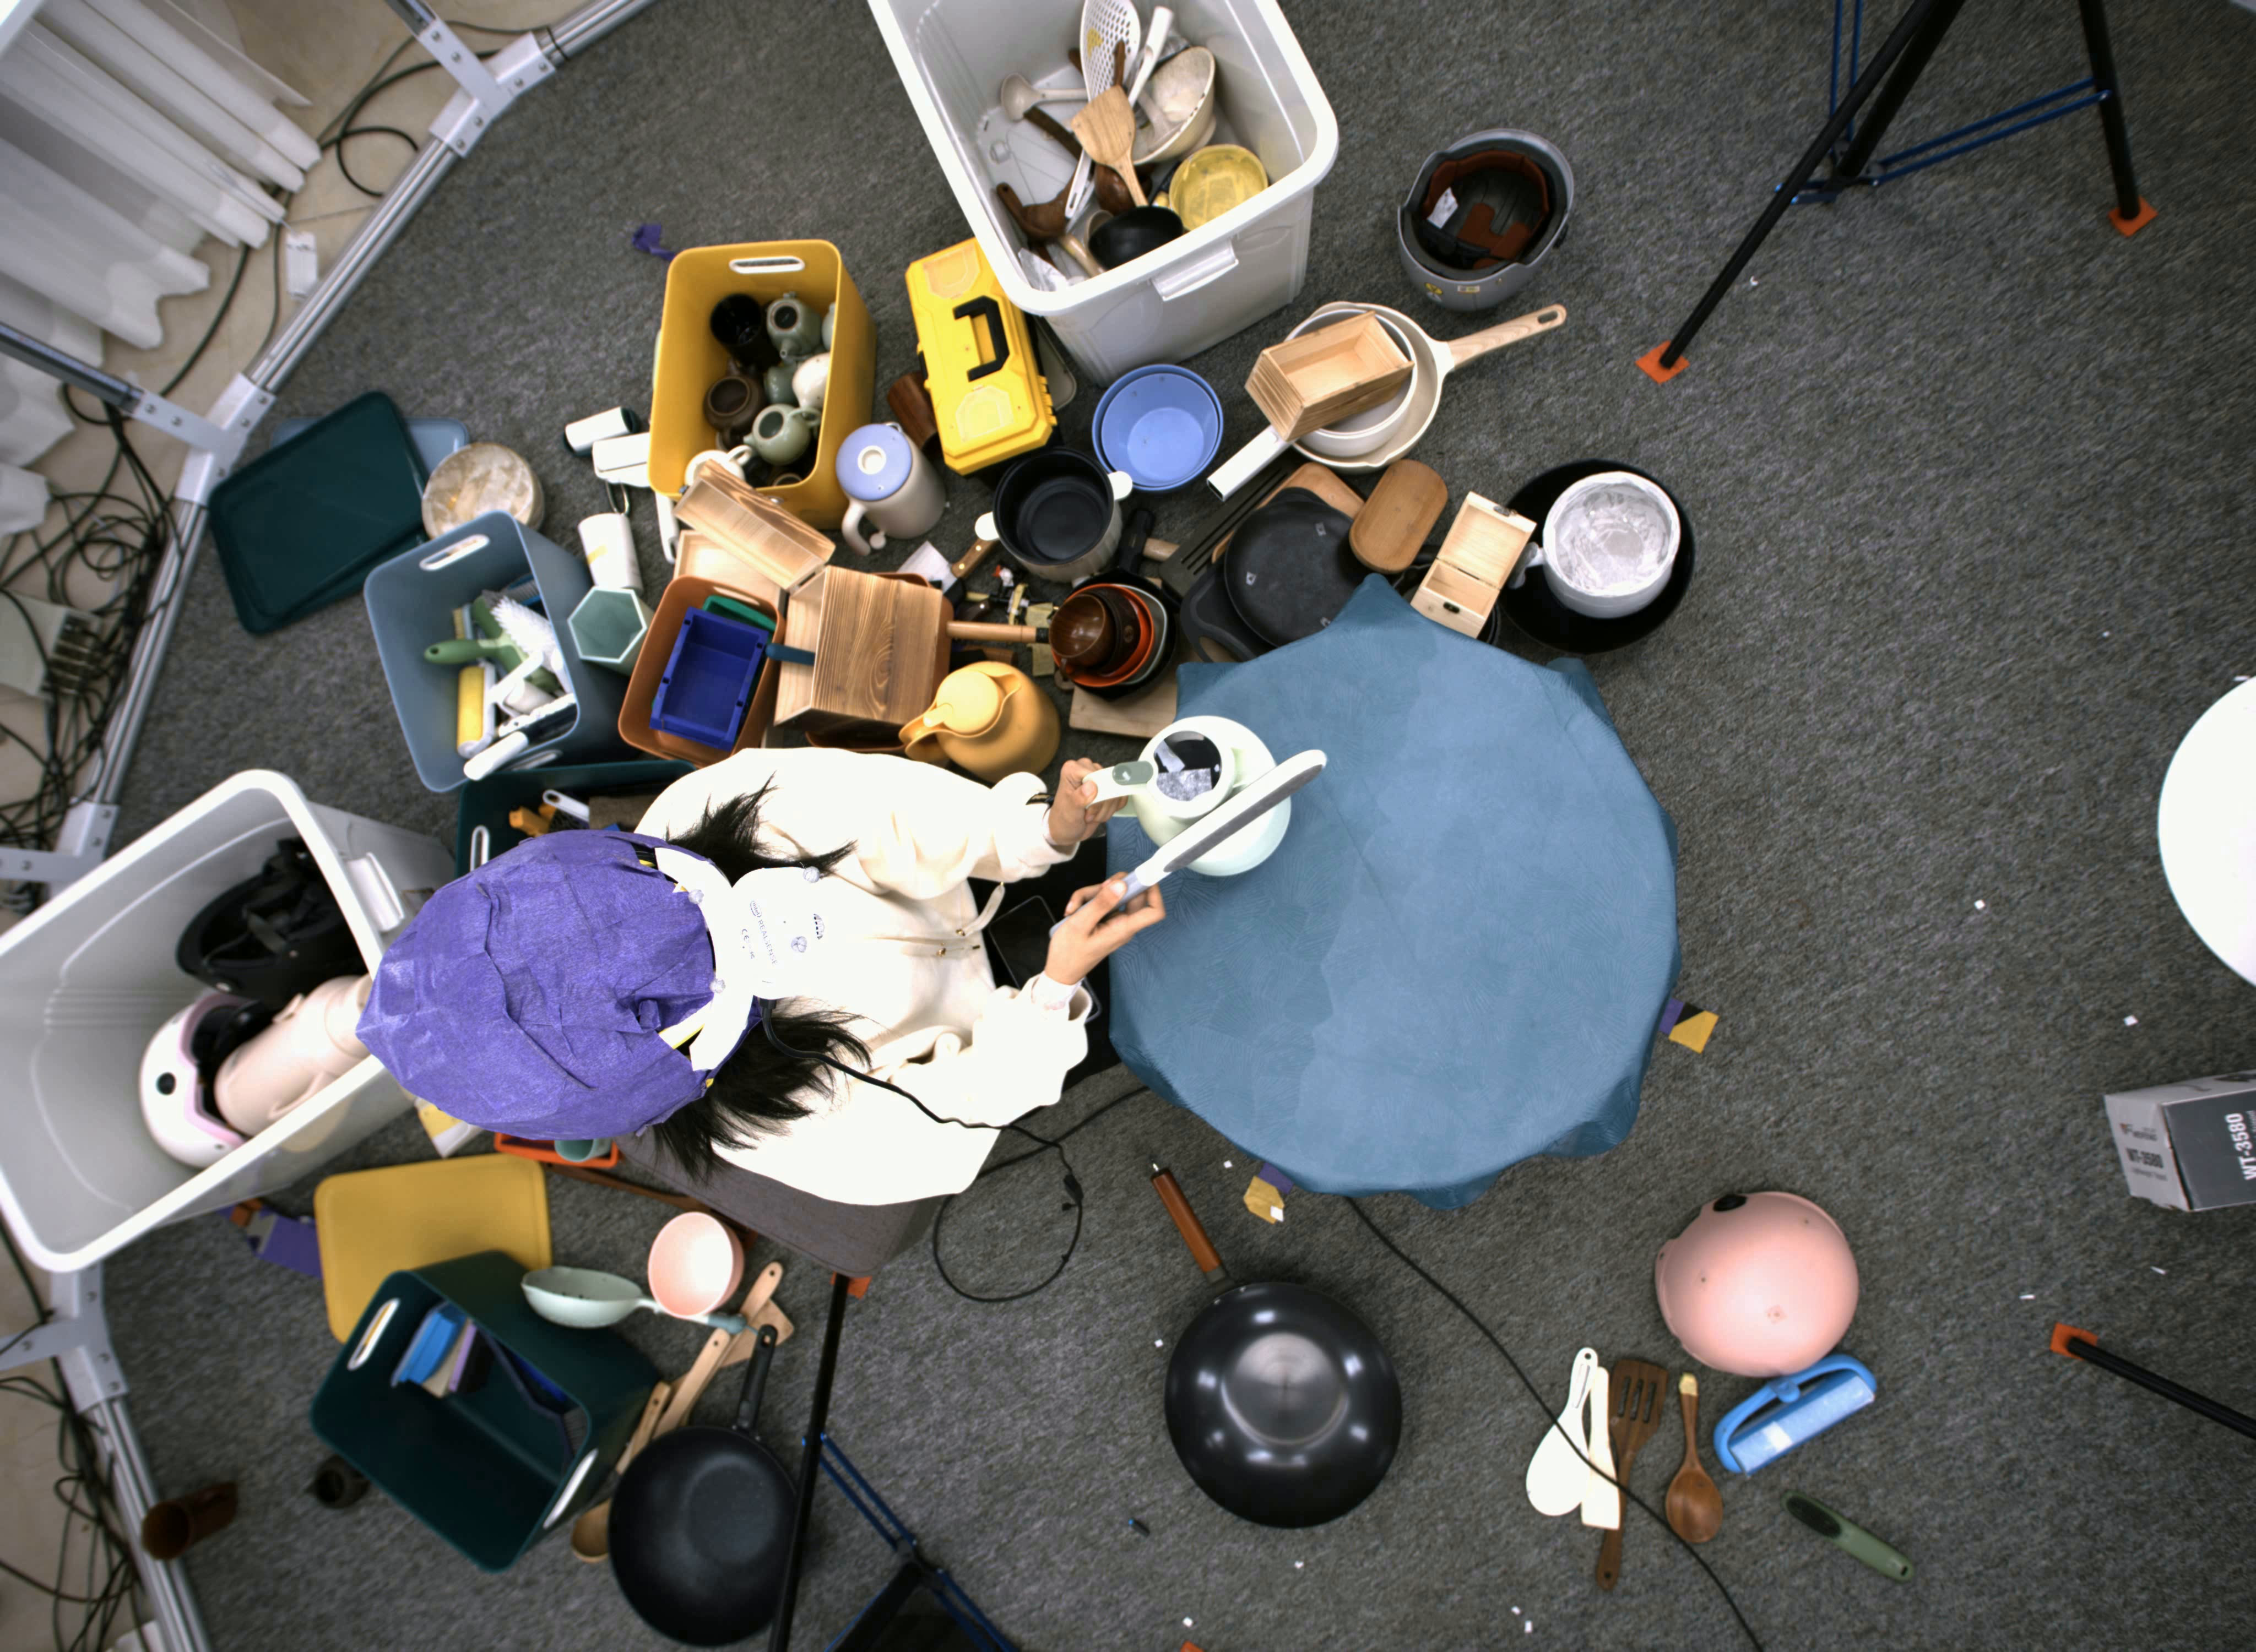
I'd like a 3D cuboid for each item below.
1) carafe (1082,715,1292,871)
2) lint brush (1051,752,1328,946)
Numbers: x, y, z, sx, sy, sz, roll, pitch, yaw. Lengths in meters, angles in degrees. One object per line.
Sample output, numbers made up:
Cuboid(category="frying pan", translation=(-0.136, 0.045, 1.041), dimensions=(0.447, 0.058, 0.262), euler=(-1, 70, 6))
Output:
Cuboid(category="carafe", translation=(0.060, -0.035, 1.328), dimensions=(0.188, 0.256, 0.143), euler=(-7, 84, 14))
Cuboid(category="lint brush", translation=(0.050, 0.023, 1.249), dimensions=(0.313, 0.060, 0.021), euler=(-35, 76, 21))
